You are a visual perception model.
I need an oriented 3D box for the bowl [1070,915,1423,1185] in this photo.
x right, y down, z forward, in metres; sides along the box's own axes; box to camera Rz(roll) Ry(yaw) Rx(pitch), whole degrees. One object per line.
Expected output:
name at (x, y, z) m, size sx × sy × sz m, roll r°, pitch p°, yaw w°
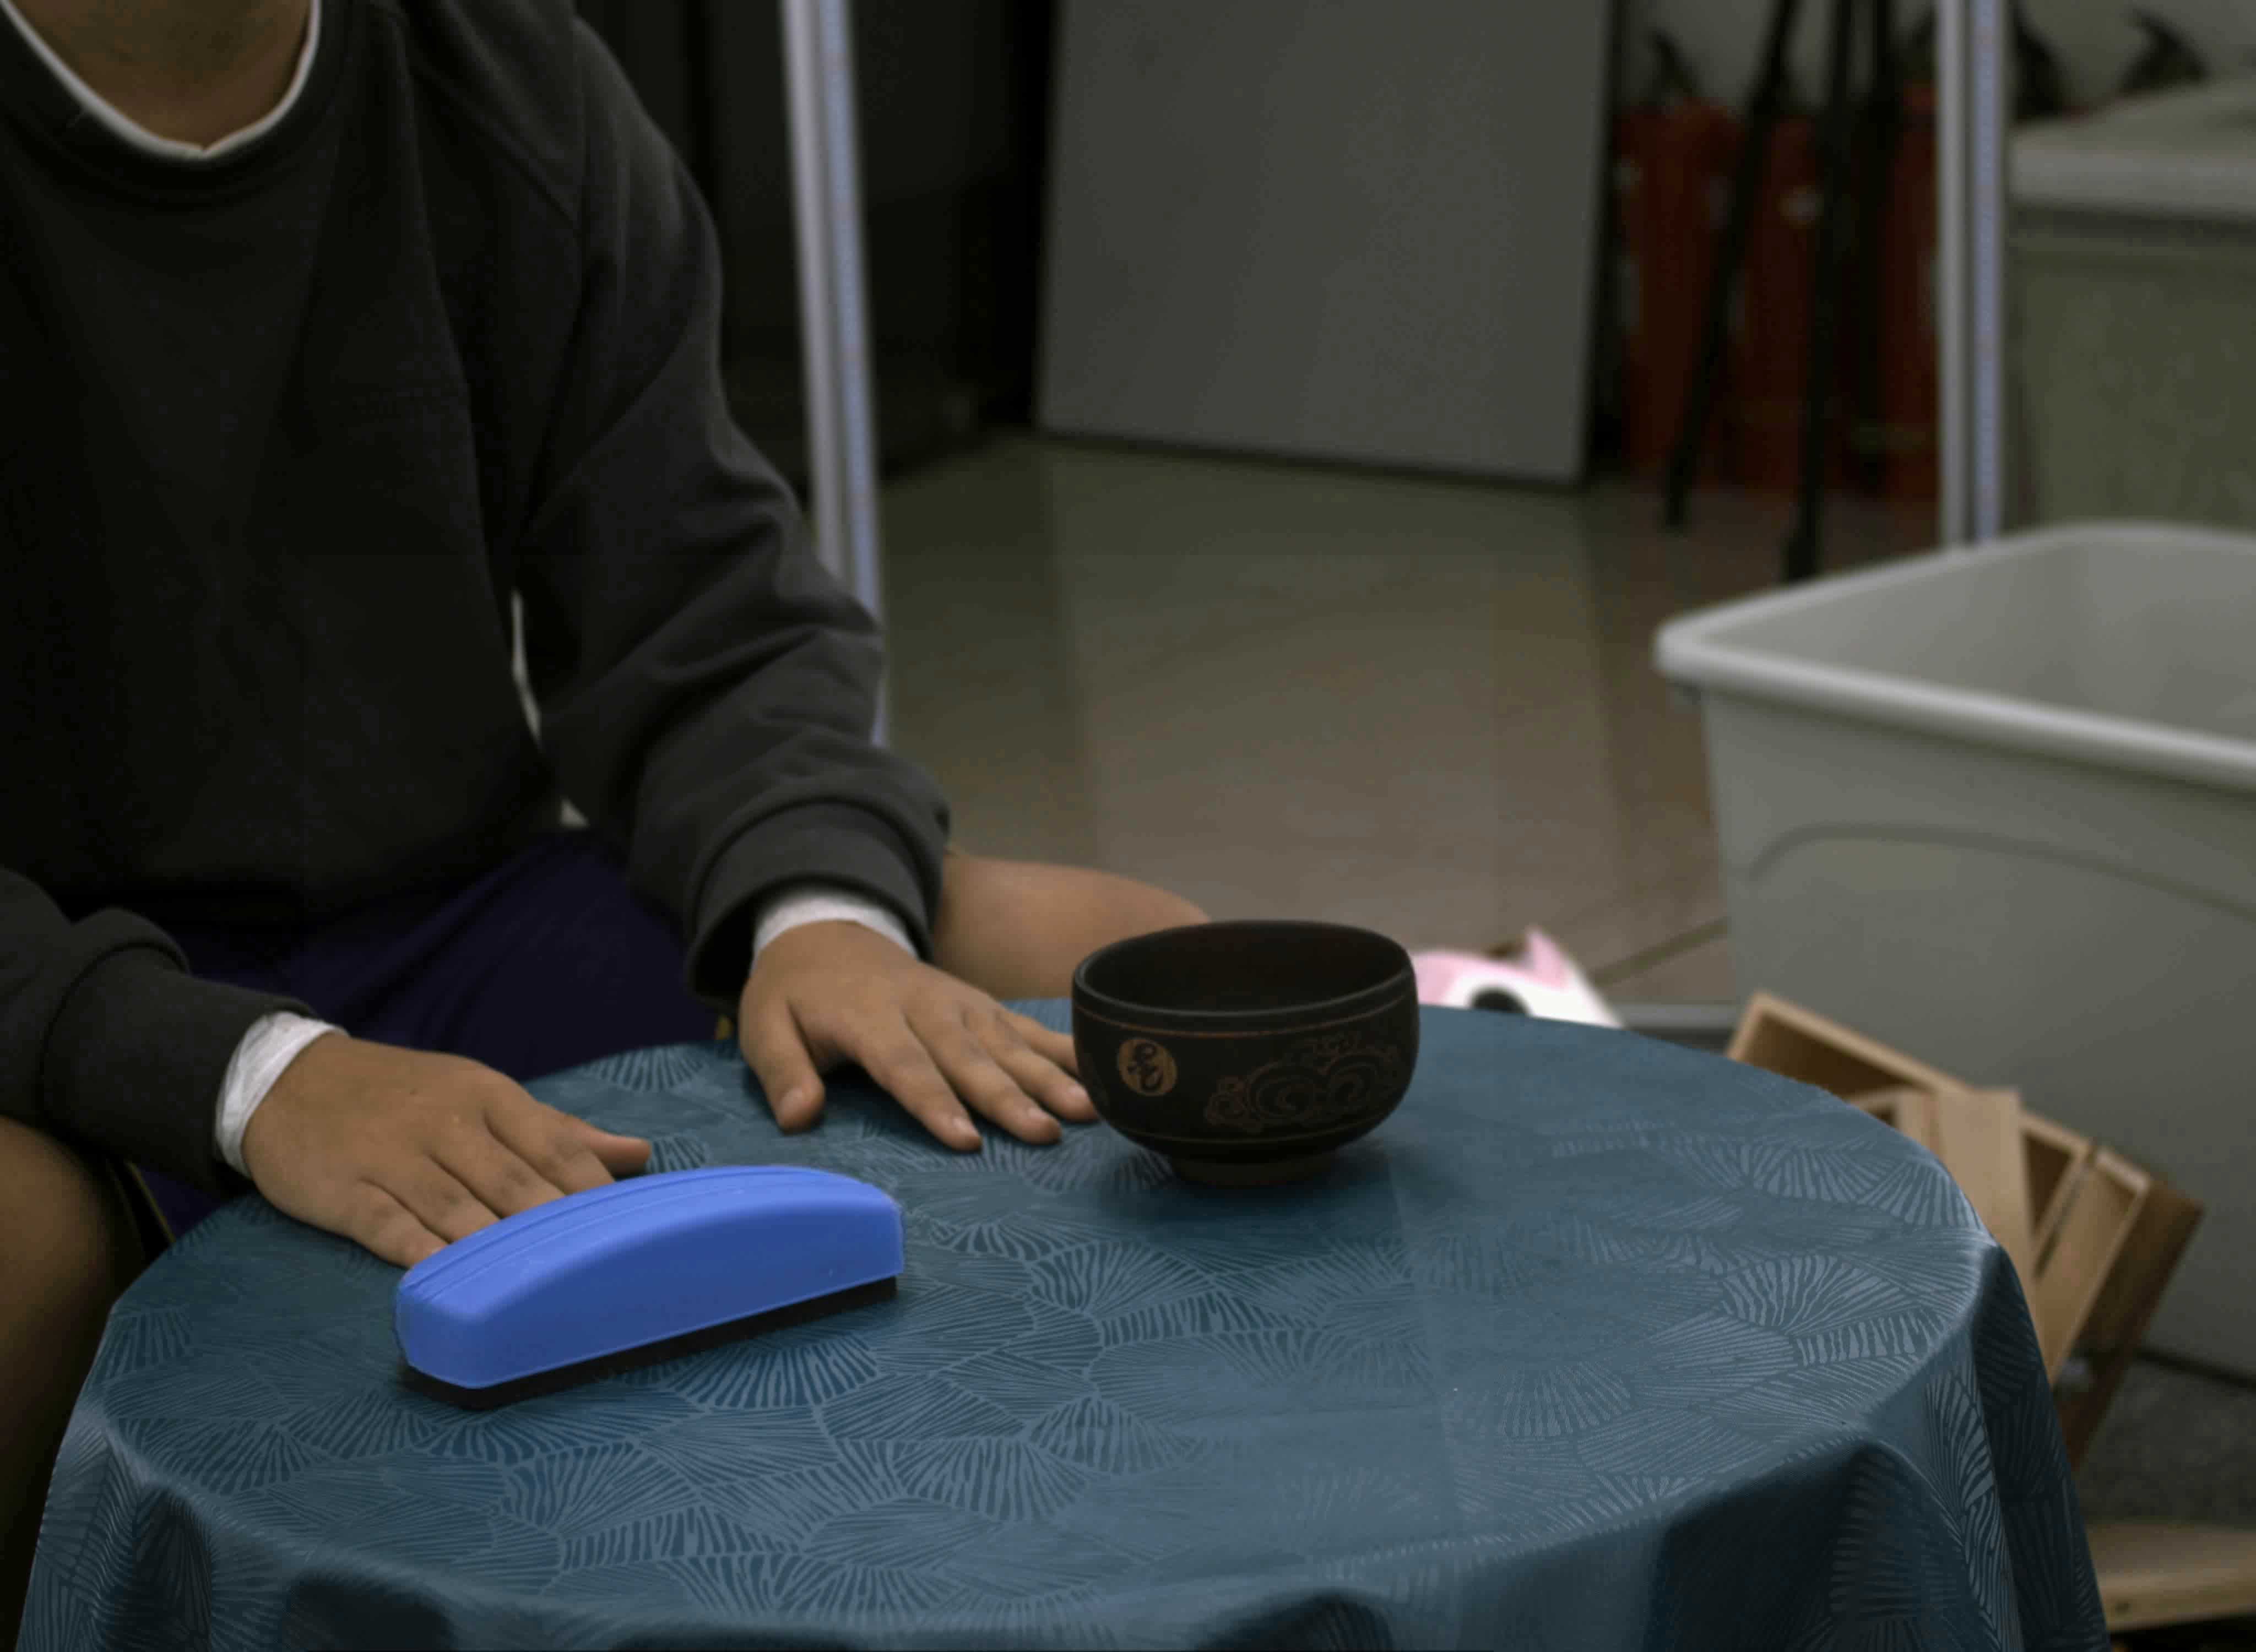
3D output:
bowl at (0.040, 0.077, 1.781) m, size 0.116 × 0.070 × 0.118 m, roll -5°, pitch 13°, yaw 0°

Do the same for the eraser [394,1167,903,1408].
eraser at (-0.146, 0.135, 1.655) m, size 0.158 × 0.048 × 0.054 m, roll -12°, pitch 17°, yaw -33°
